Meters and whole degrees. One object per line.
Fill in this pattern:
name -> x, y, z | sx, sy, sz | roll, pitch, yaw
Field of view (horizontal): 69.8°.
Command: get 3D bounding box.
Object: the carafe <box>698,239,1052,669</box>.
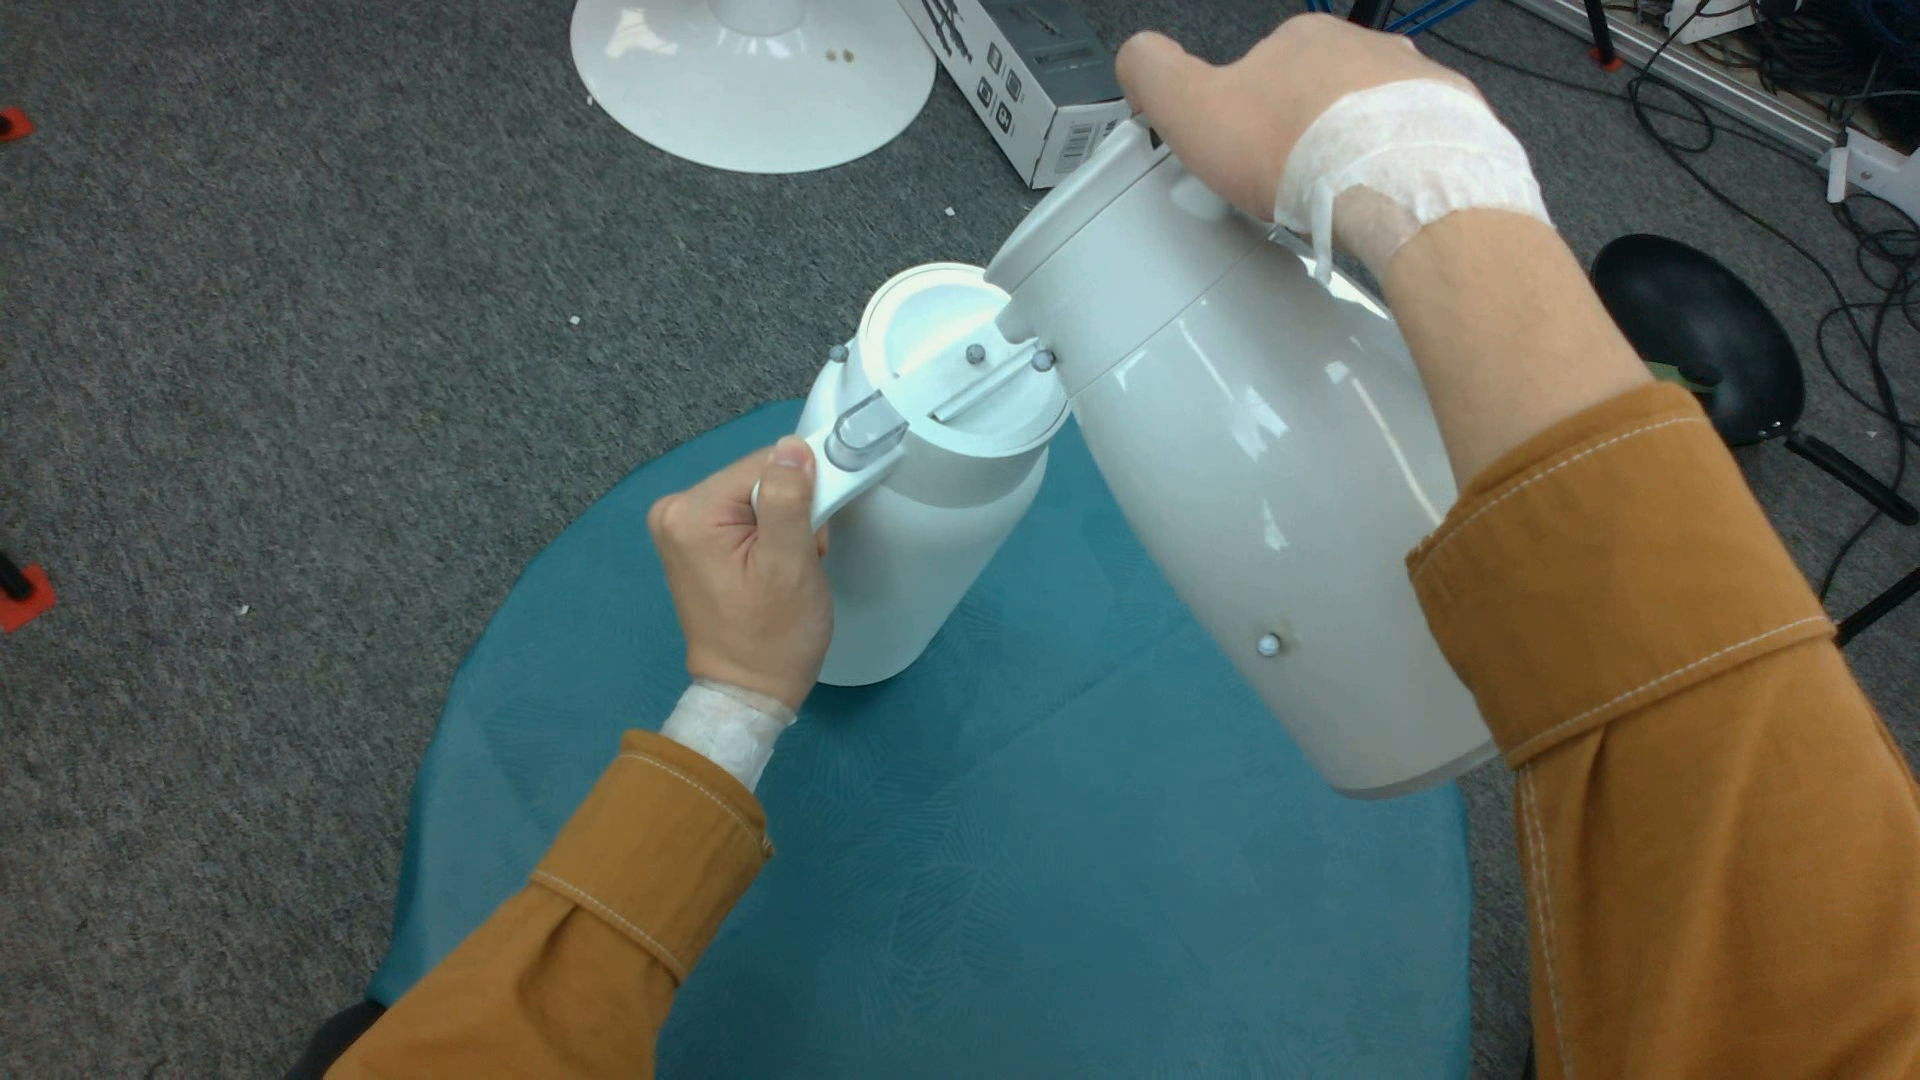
carafe -> -0.055, -0.022, 0.688 | 0.173, 0.267, 0.124 | -39, 84, -30

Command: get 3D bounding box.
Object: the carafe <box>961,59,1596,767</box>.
carafe -> 0.122, -0.057, 0.513 | 0.248, 0.167, 0.133 | 50, 46, -6
